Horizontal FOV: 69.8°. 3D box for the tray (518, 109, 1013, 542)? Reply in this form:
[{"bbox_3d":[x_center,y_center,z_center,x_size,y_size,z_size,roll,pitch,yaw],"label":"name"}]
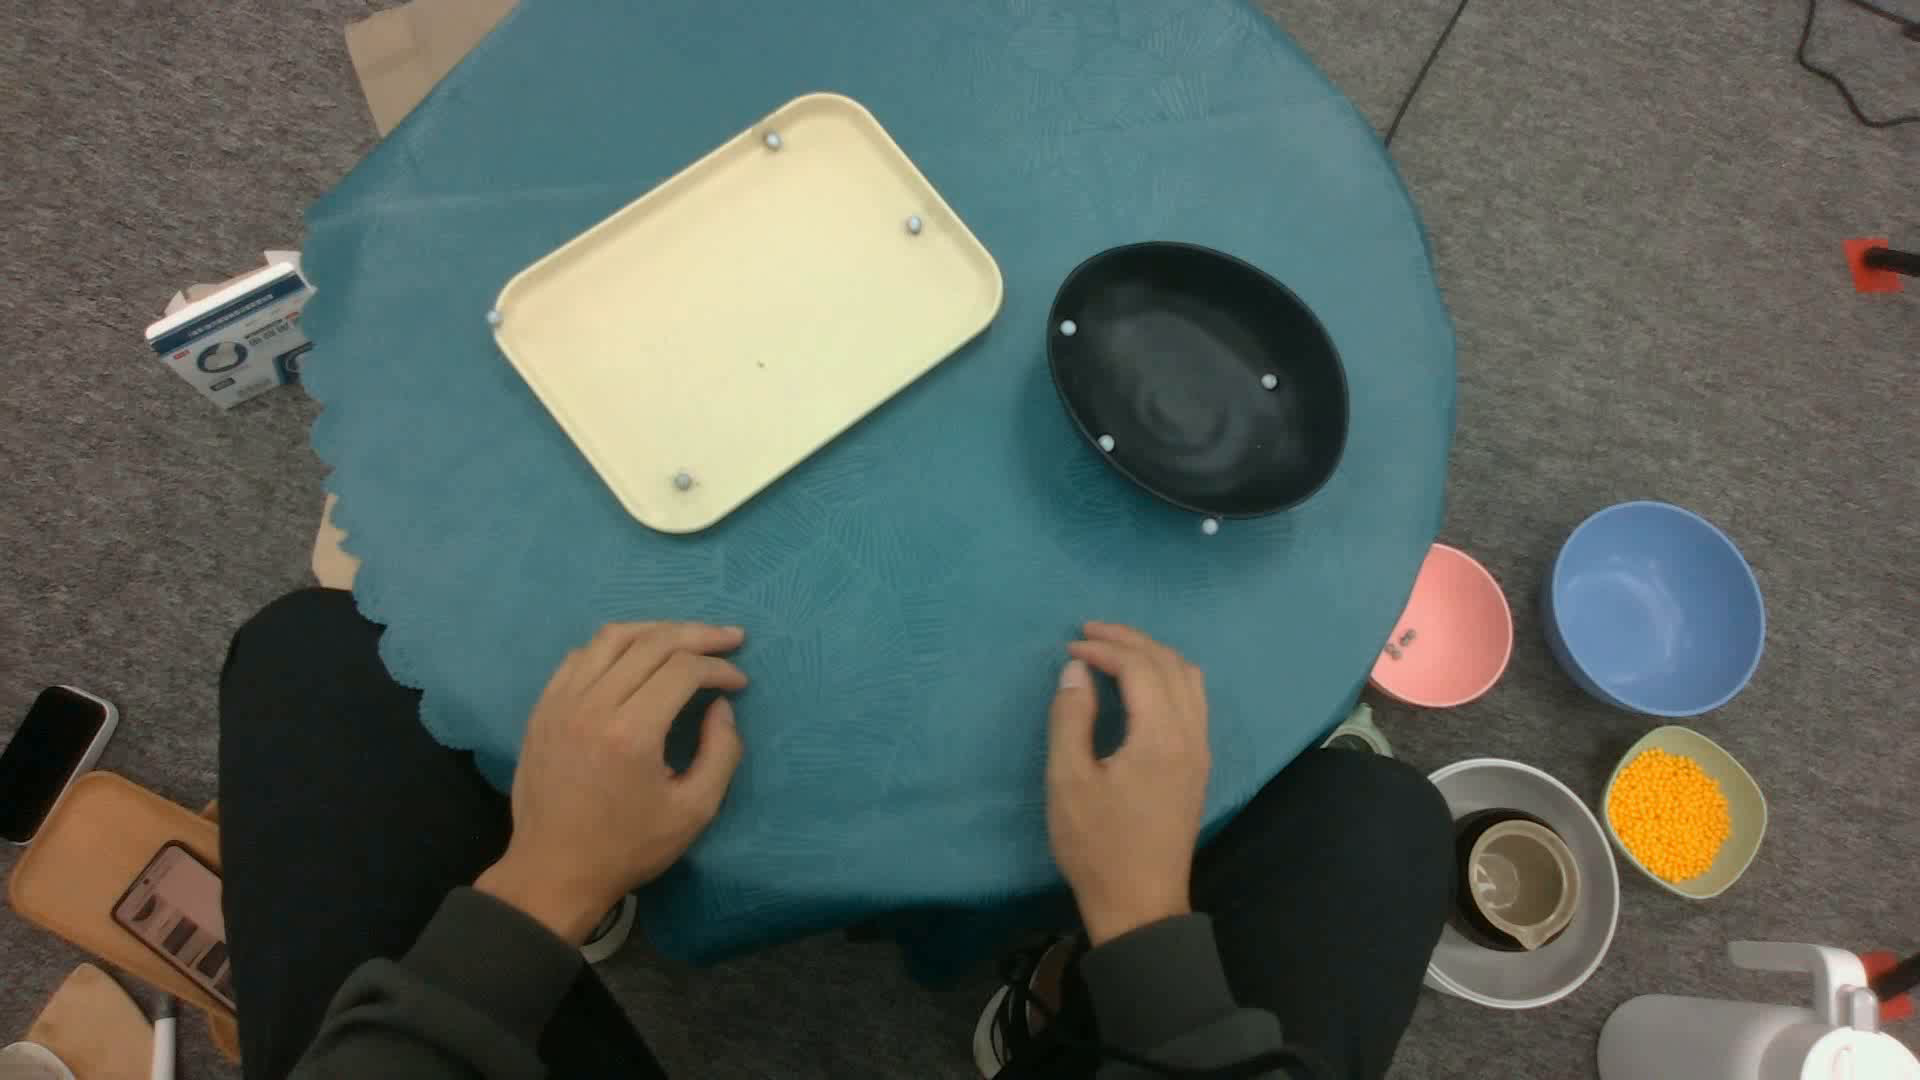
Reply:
[{"bbox_3d":[-0.104,-0.120,0.753,0.240,0.017,0.171,-38,81,-13],"label":"tray"}]

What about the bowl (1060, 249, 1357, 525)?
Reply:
[{"bbox_3d":[0.125,-0.074,0.733,0.170,0.066,0.138,42,75,10],"label":"bowl"}]
